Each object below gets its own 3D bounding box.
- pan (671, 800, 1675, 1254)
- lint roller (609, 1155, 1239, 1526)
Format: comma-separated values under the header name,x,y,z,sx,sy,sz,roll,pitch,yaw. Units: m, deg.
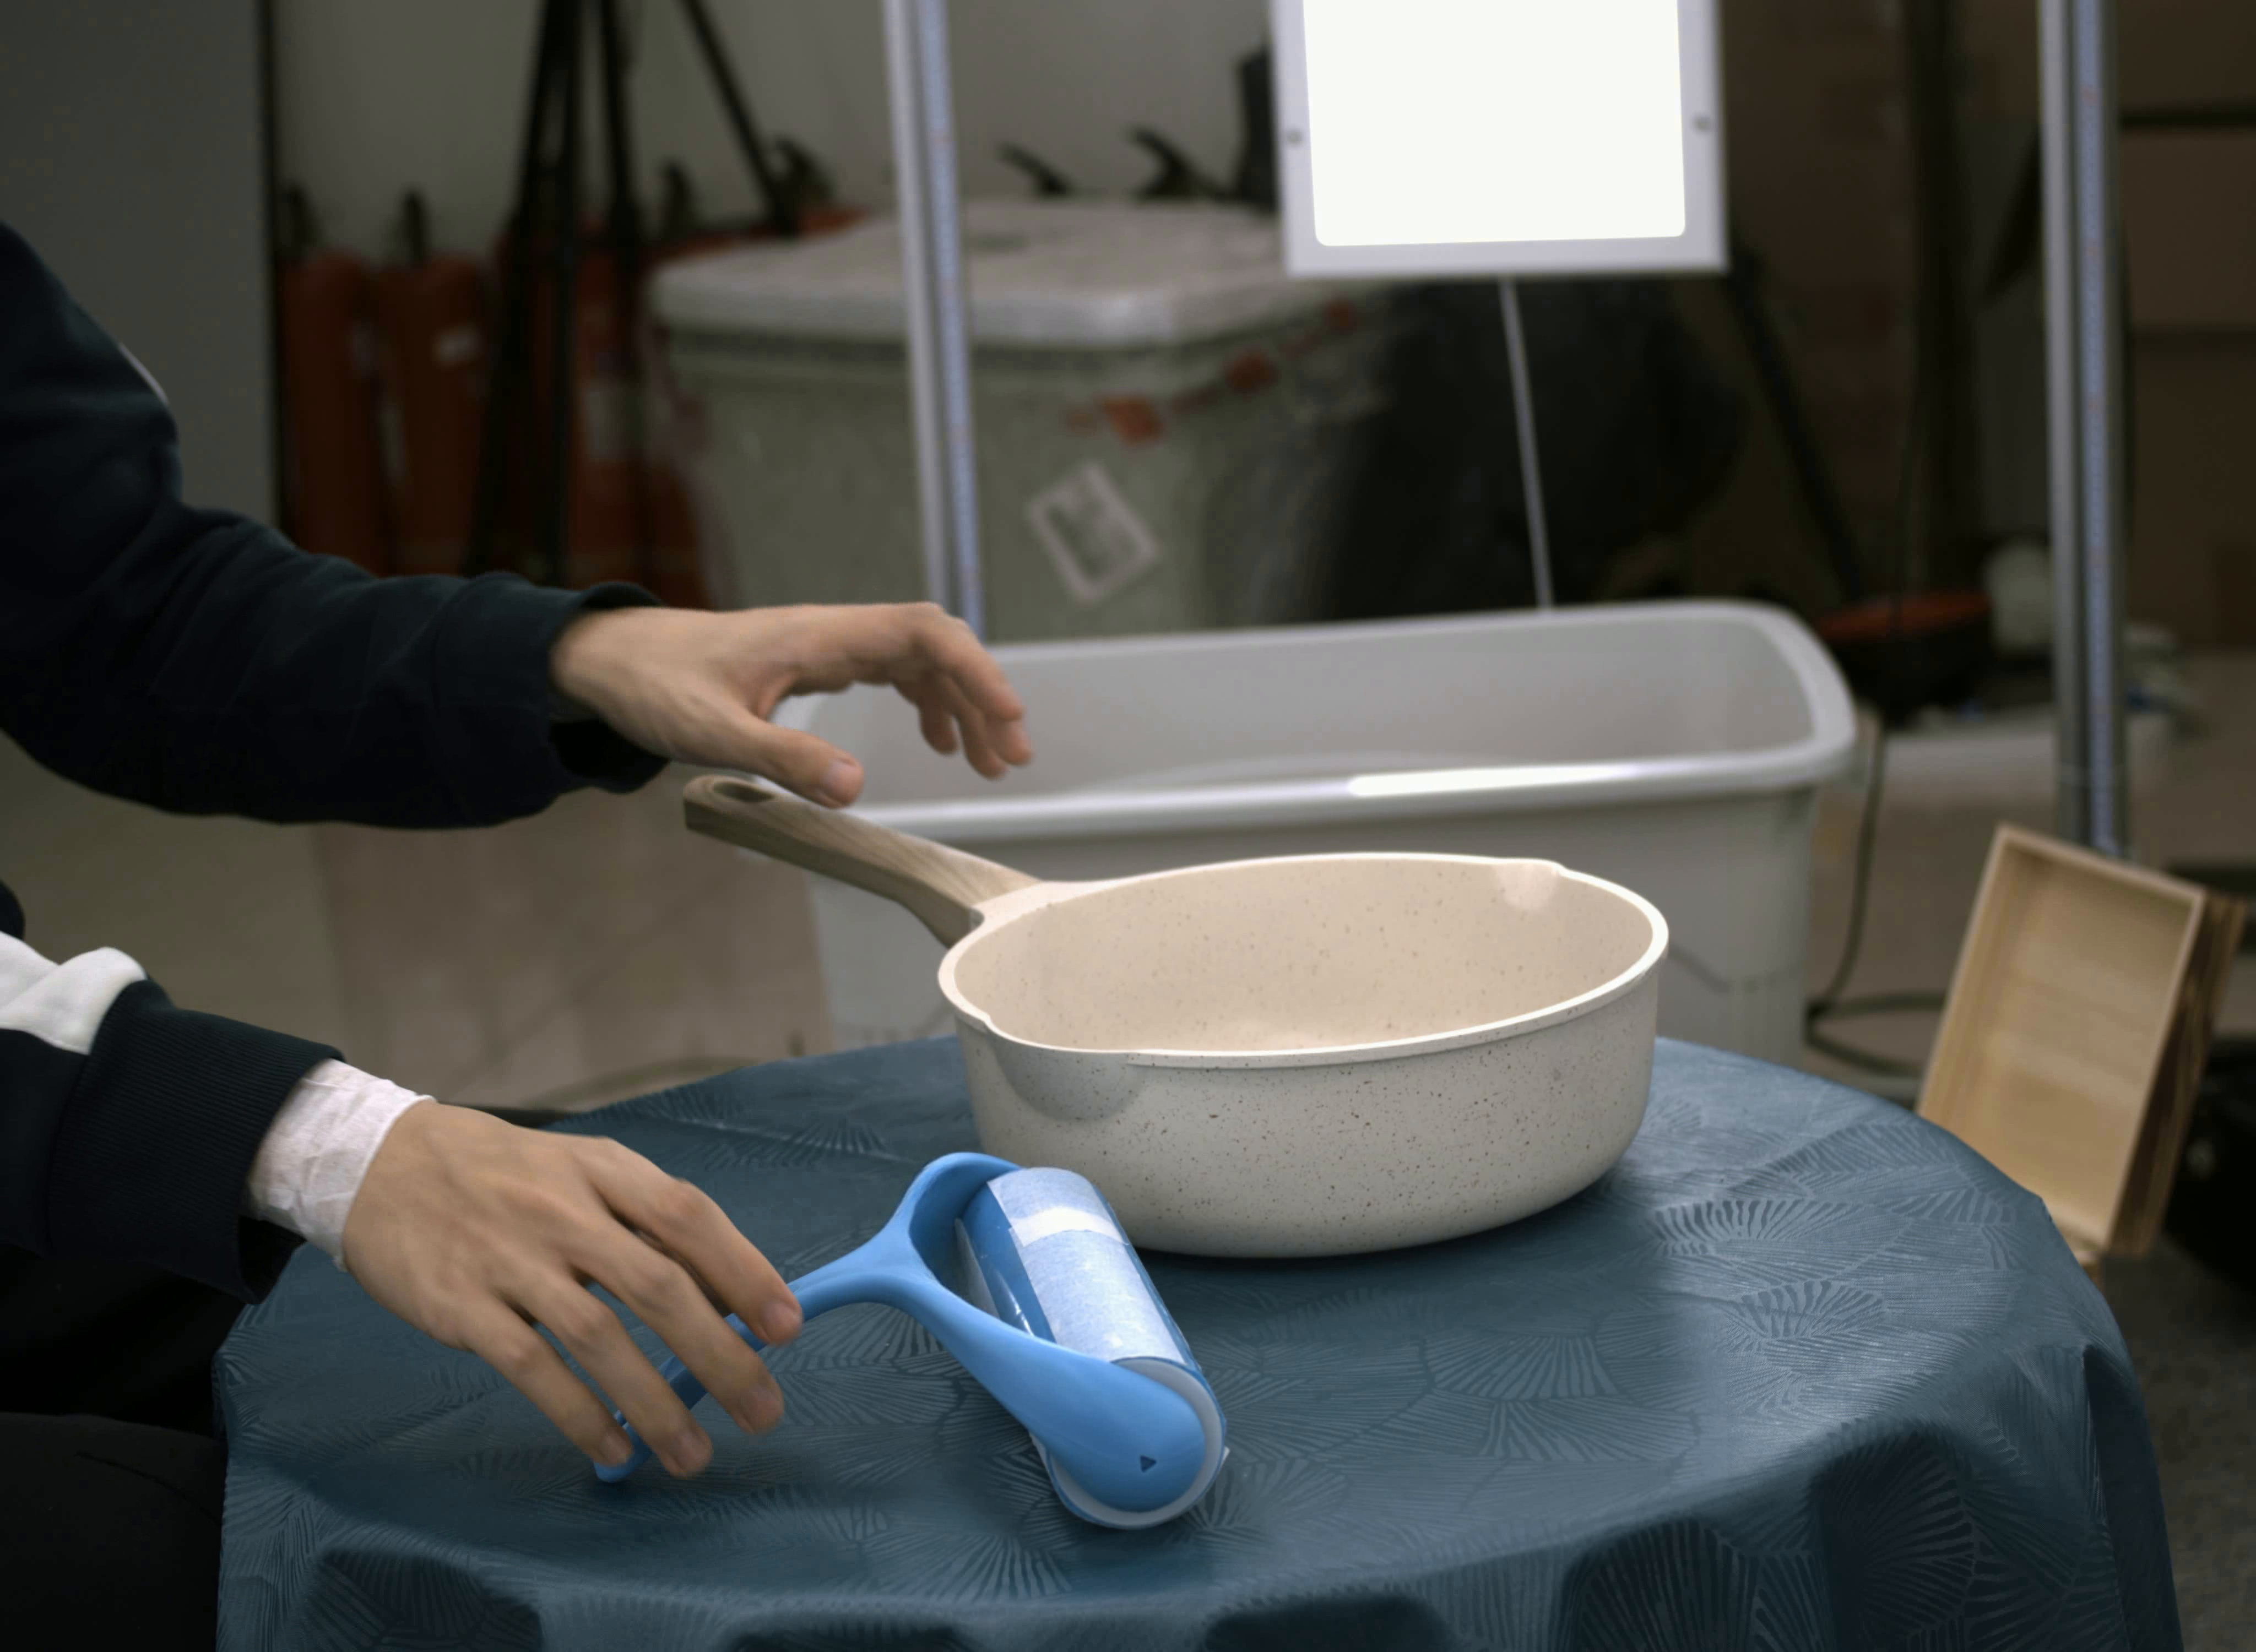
name,x,y,z,sx,sy,sz,roll,pitch,yaw
pan,-0.002,0.061,1.952,0.444,0.102,0.257,8,20,44
lint roller,-0.069,0.160,1.662,0.178,0.068,0.230,-8,15,-10
